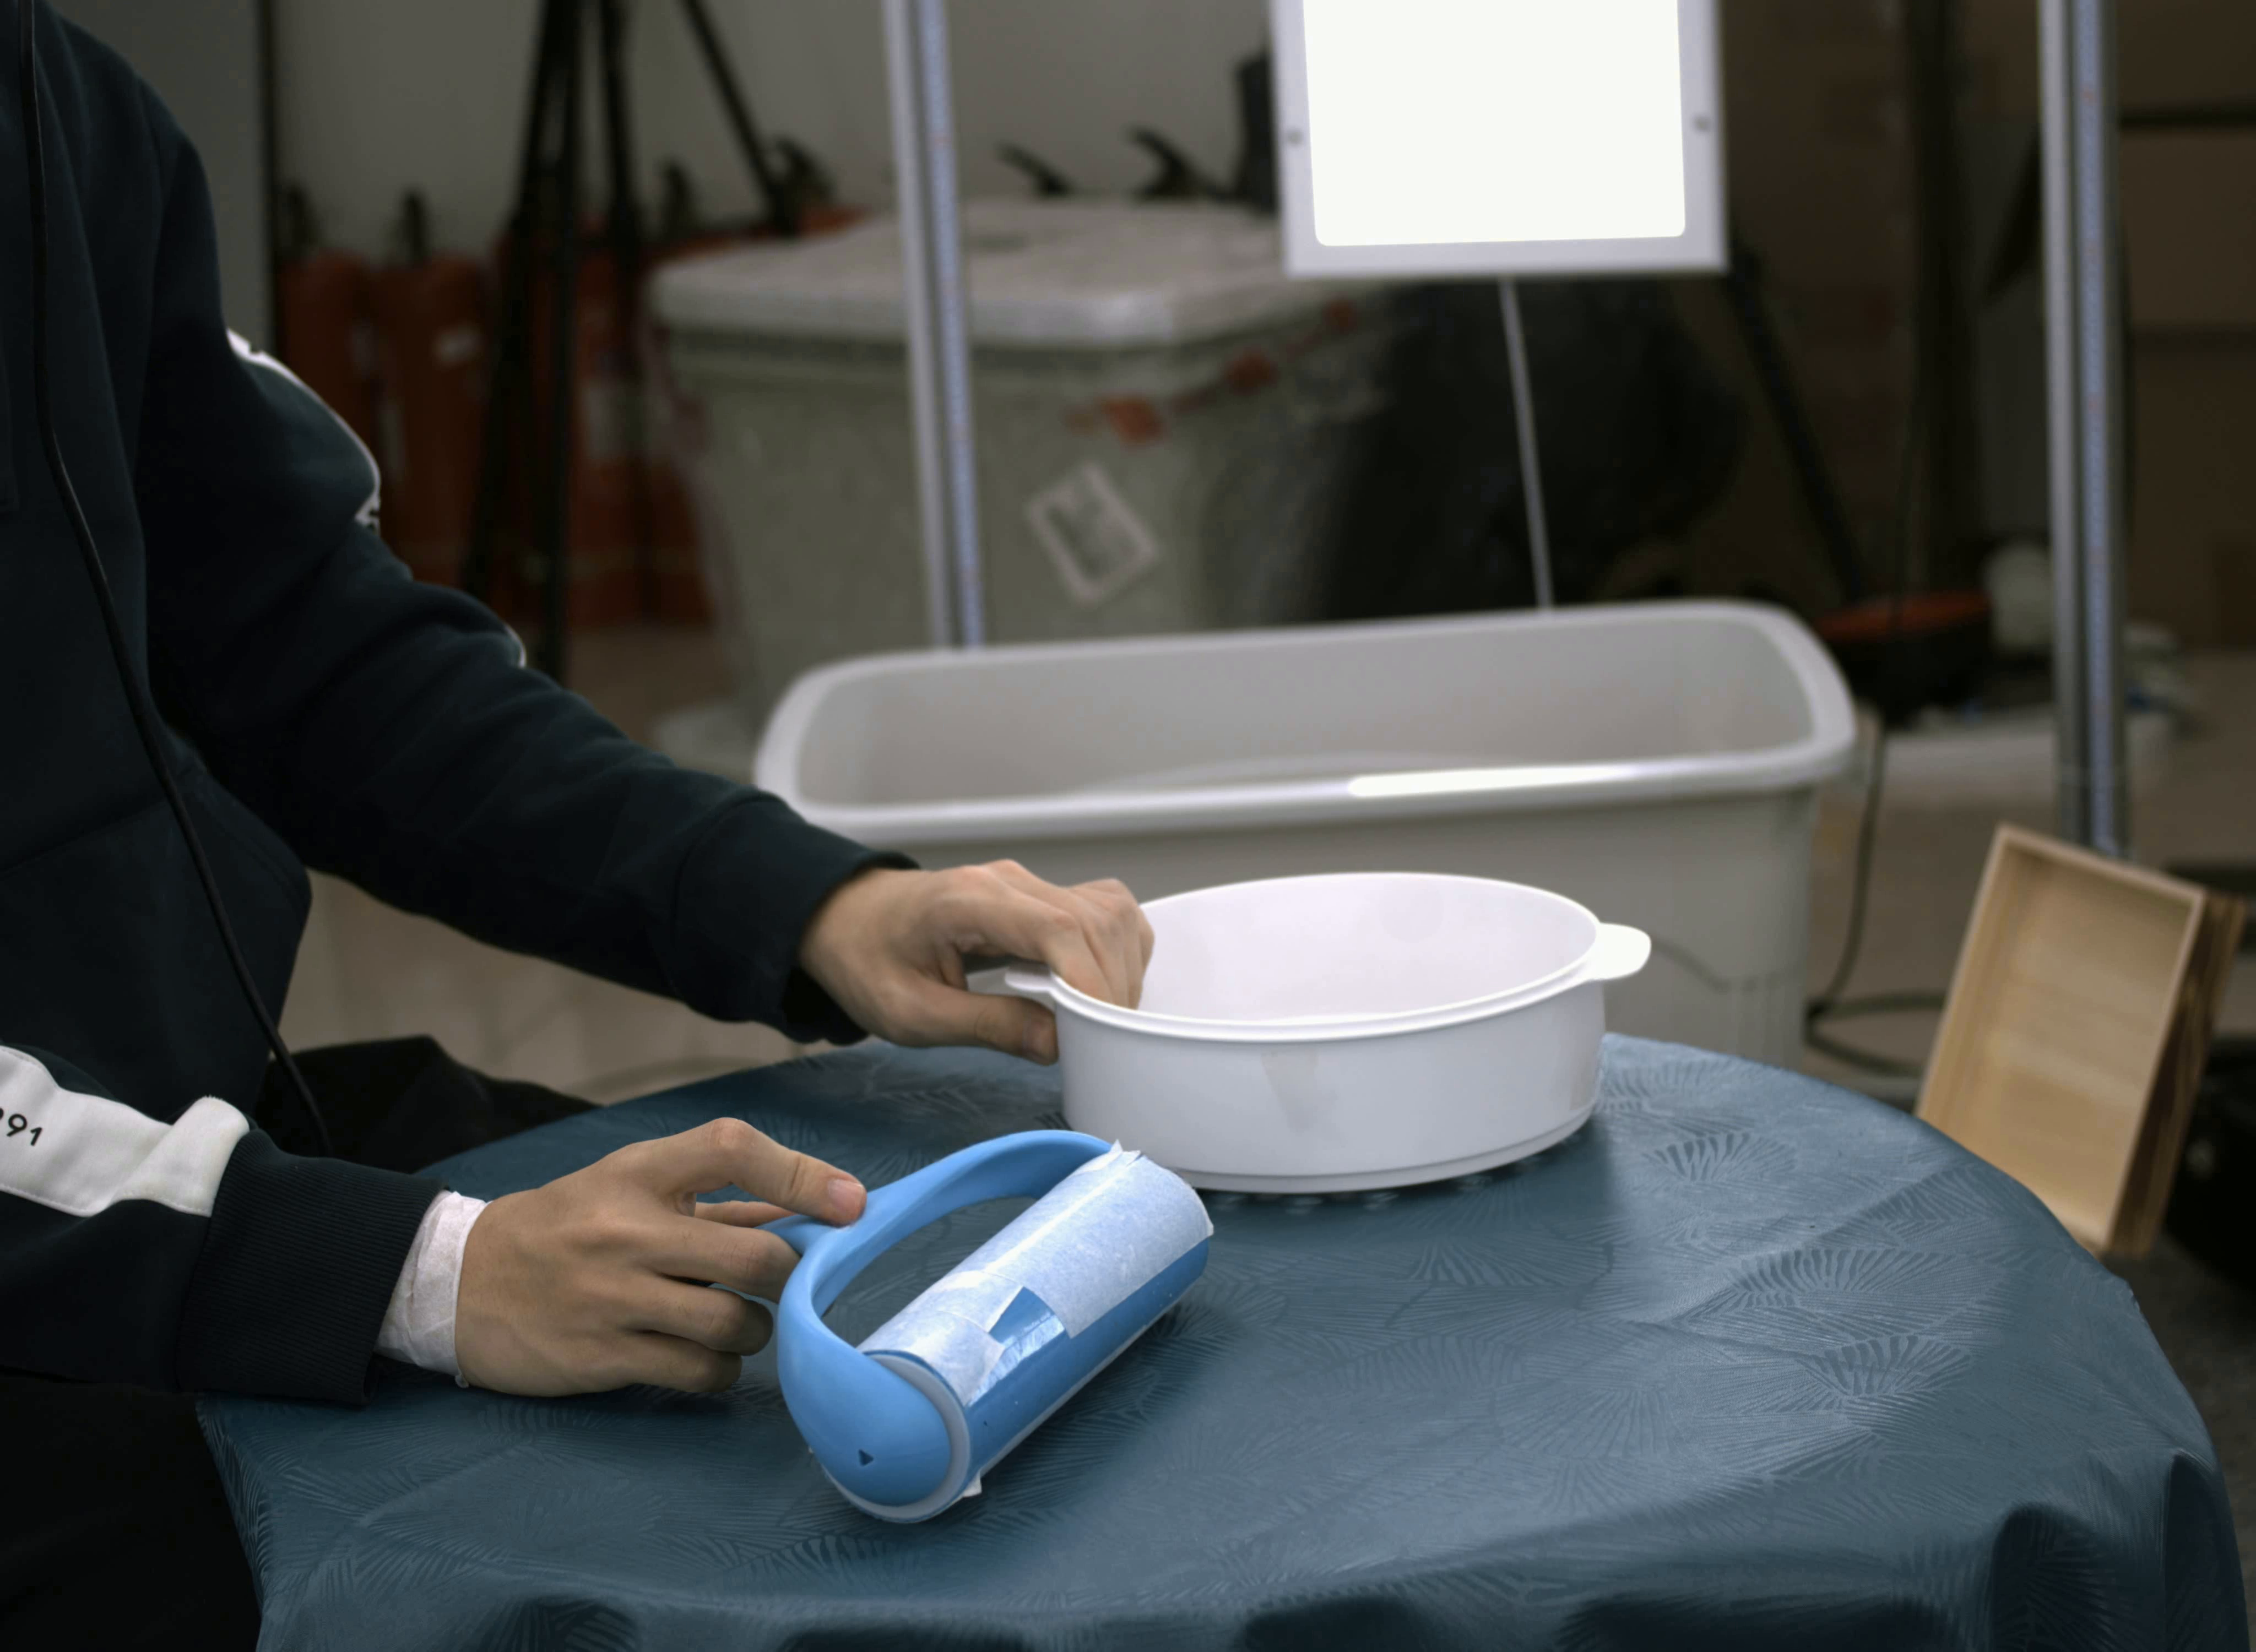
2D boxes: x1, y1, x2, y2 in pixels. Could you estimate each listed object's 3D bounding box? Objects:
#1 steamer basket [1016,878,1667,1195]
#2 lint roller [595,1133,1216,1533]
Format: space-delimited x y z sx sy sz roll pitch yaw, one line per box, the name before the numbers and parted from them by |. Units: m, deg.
steamer basket | 0.077 0.074 1.938 0.232 0.069 0.199 -3 13 13
lint roller | -0.085 0.153 1.705 0.182 0.068 0.225 1 17 19
